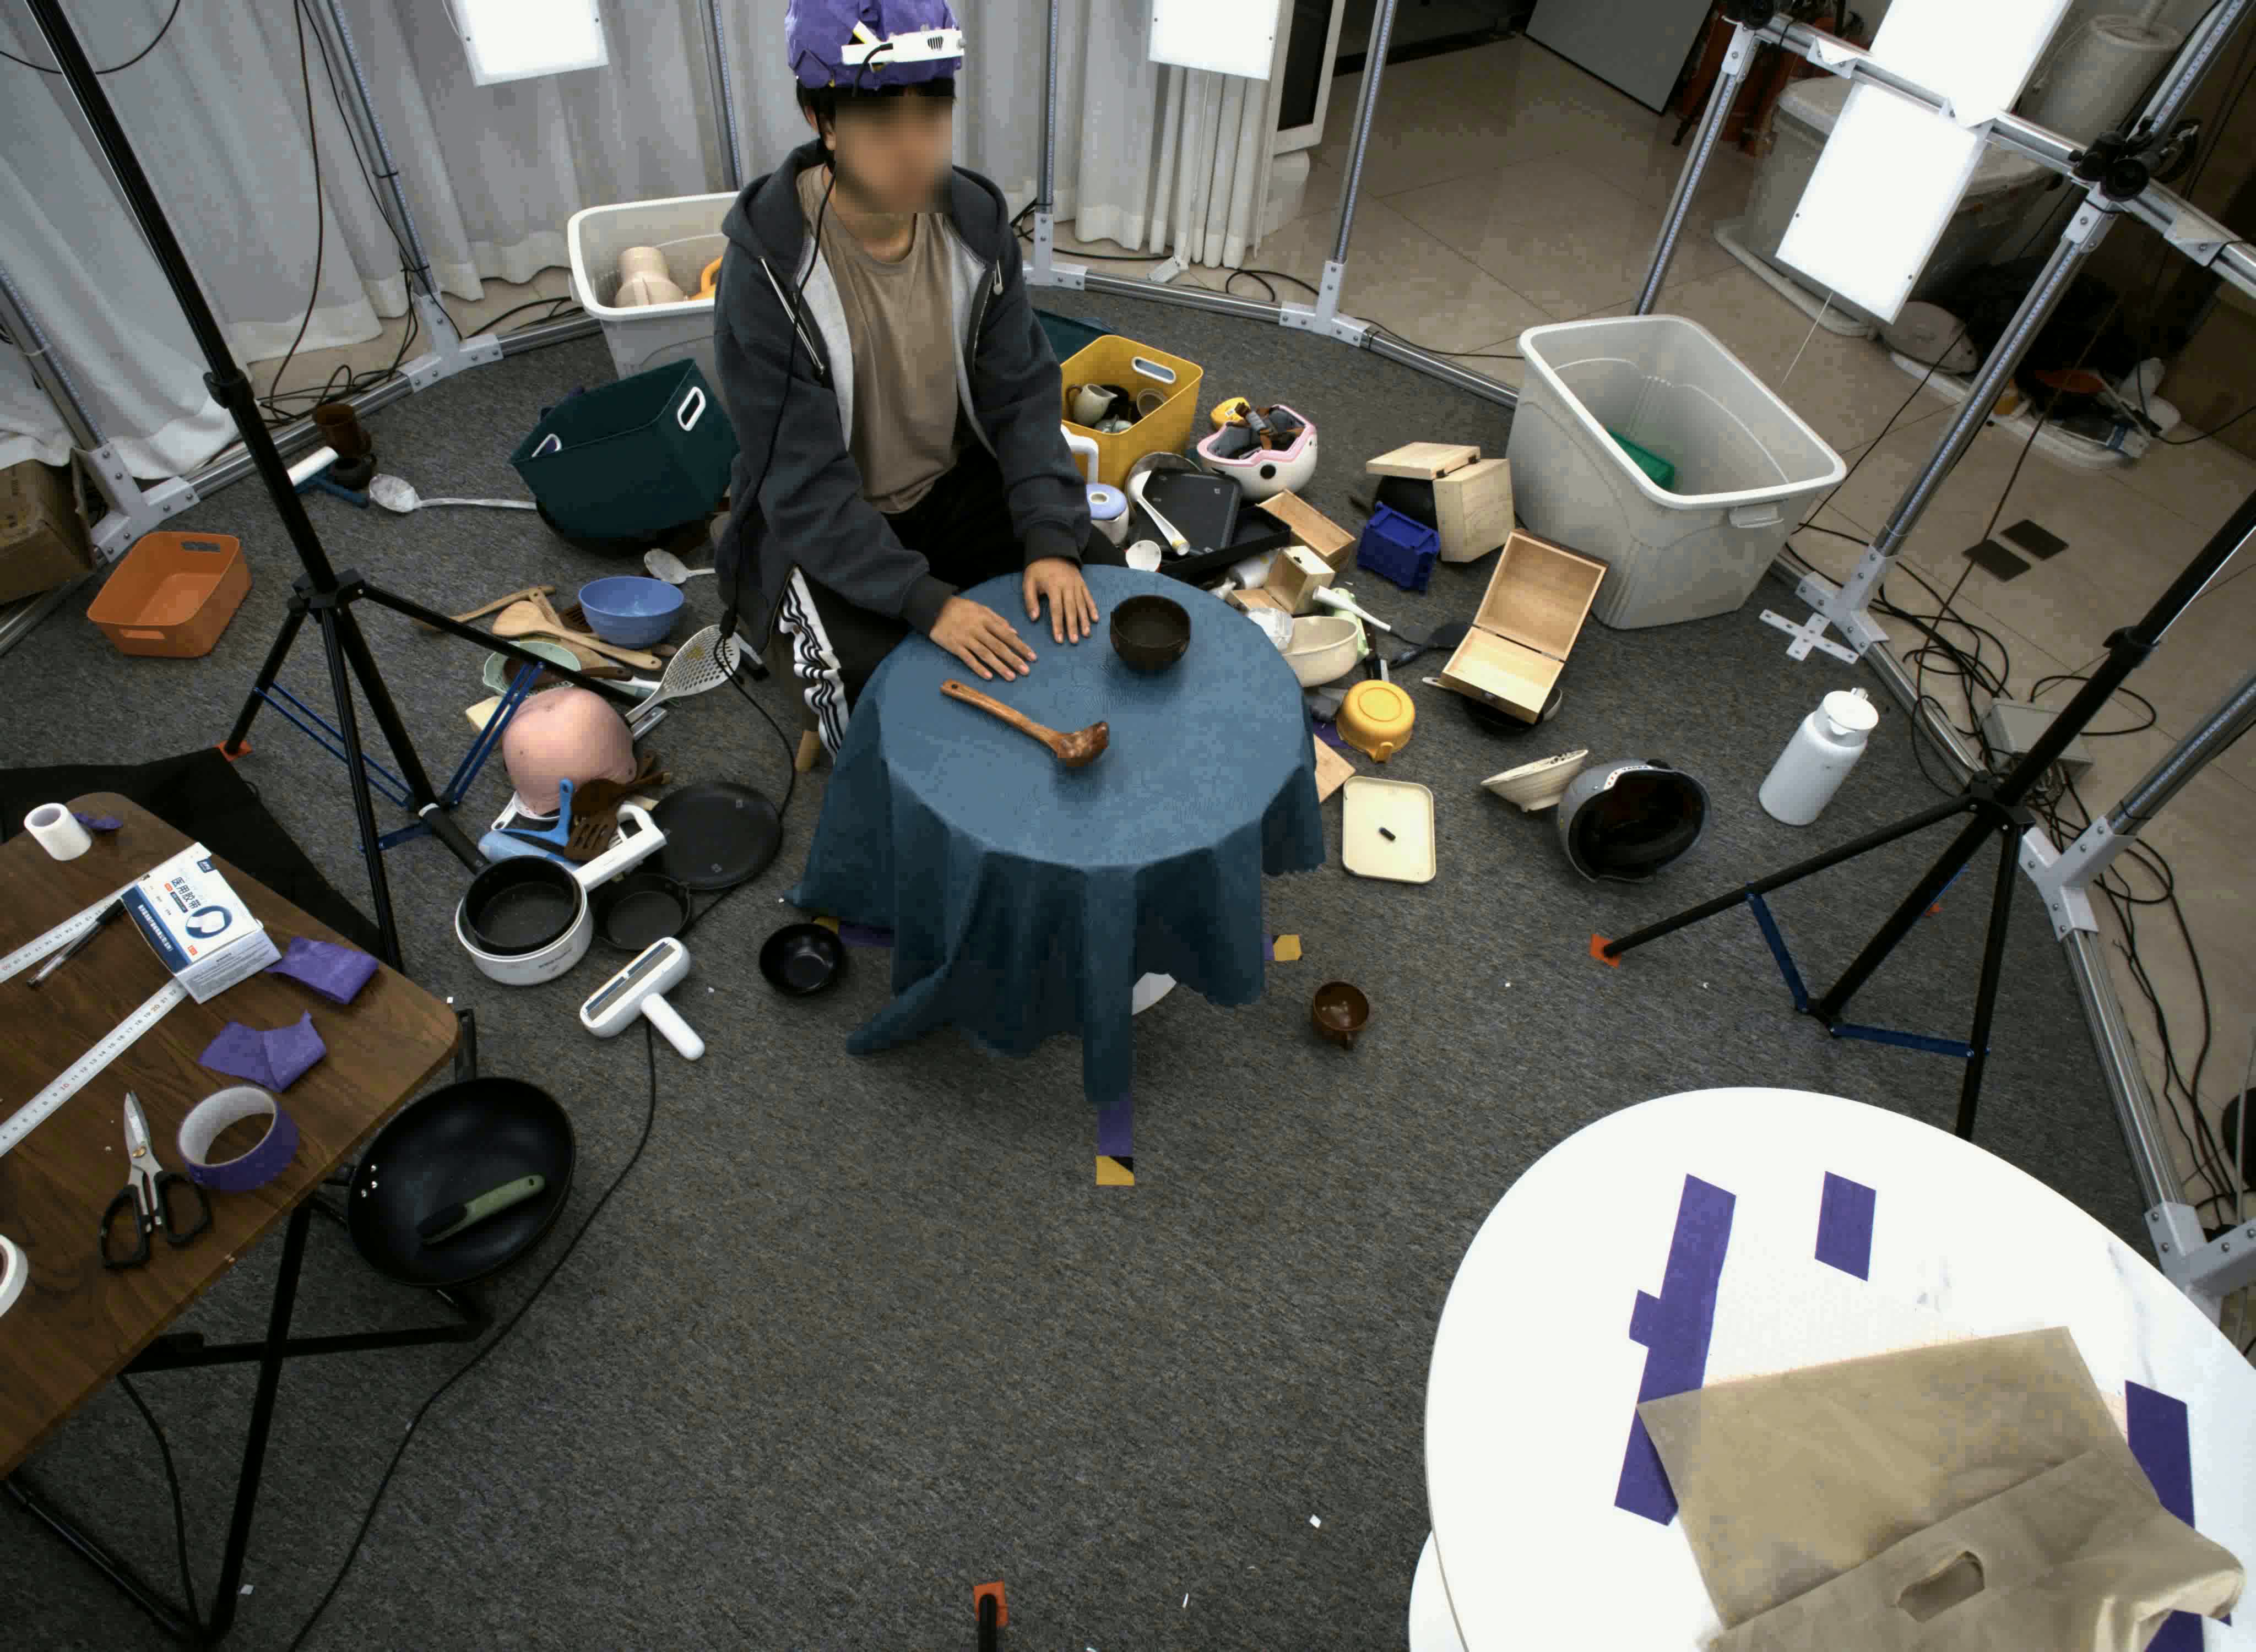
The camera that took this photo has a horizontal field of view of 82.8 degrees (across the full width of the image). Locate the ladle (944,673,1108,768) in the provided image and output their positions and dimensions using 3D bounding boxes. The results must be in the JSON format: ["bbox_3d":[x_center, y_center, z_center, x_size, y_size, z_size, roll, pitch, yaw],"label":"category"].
[{"bbox_3d":[-0.146,-0.159,1.743,0.277,0.075,0.083,31,59,21],"label":"ladle"}]

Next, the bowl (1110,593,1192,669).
[{"bbox_3d":[0.033,-0.274,1.859,0.118,0.068,0.121,2,49,-2],"label":"bowl"}]
